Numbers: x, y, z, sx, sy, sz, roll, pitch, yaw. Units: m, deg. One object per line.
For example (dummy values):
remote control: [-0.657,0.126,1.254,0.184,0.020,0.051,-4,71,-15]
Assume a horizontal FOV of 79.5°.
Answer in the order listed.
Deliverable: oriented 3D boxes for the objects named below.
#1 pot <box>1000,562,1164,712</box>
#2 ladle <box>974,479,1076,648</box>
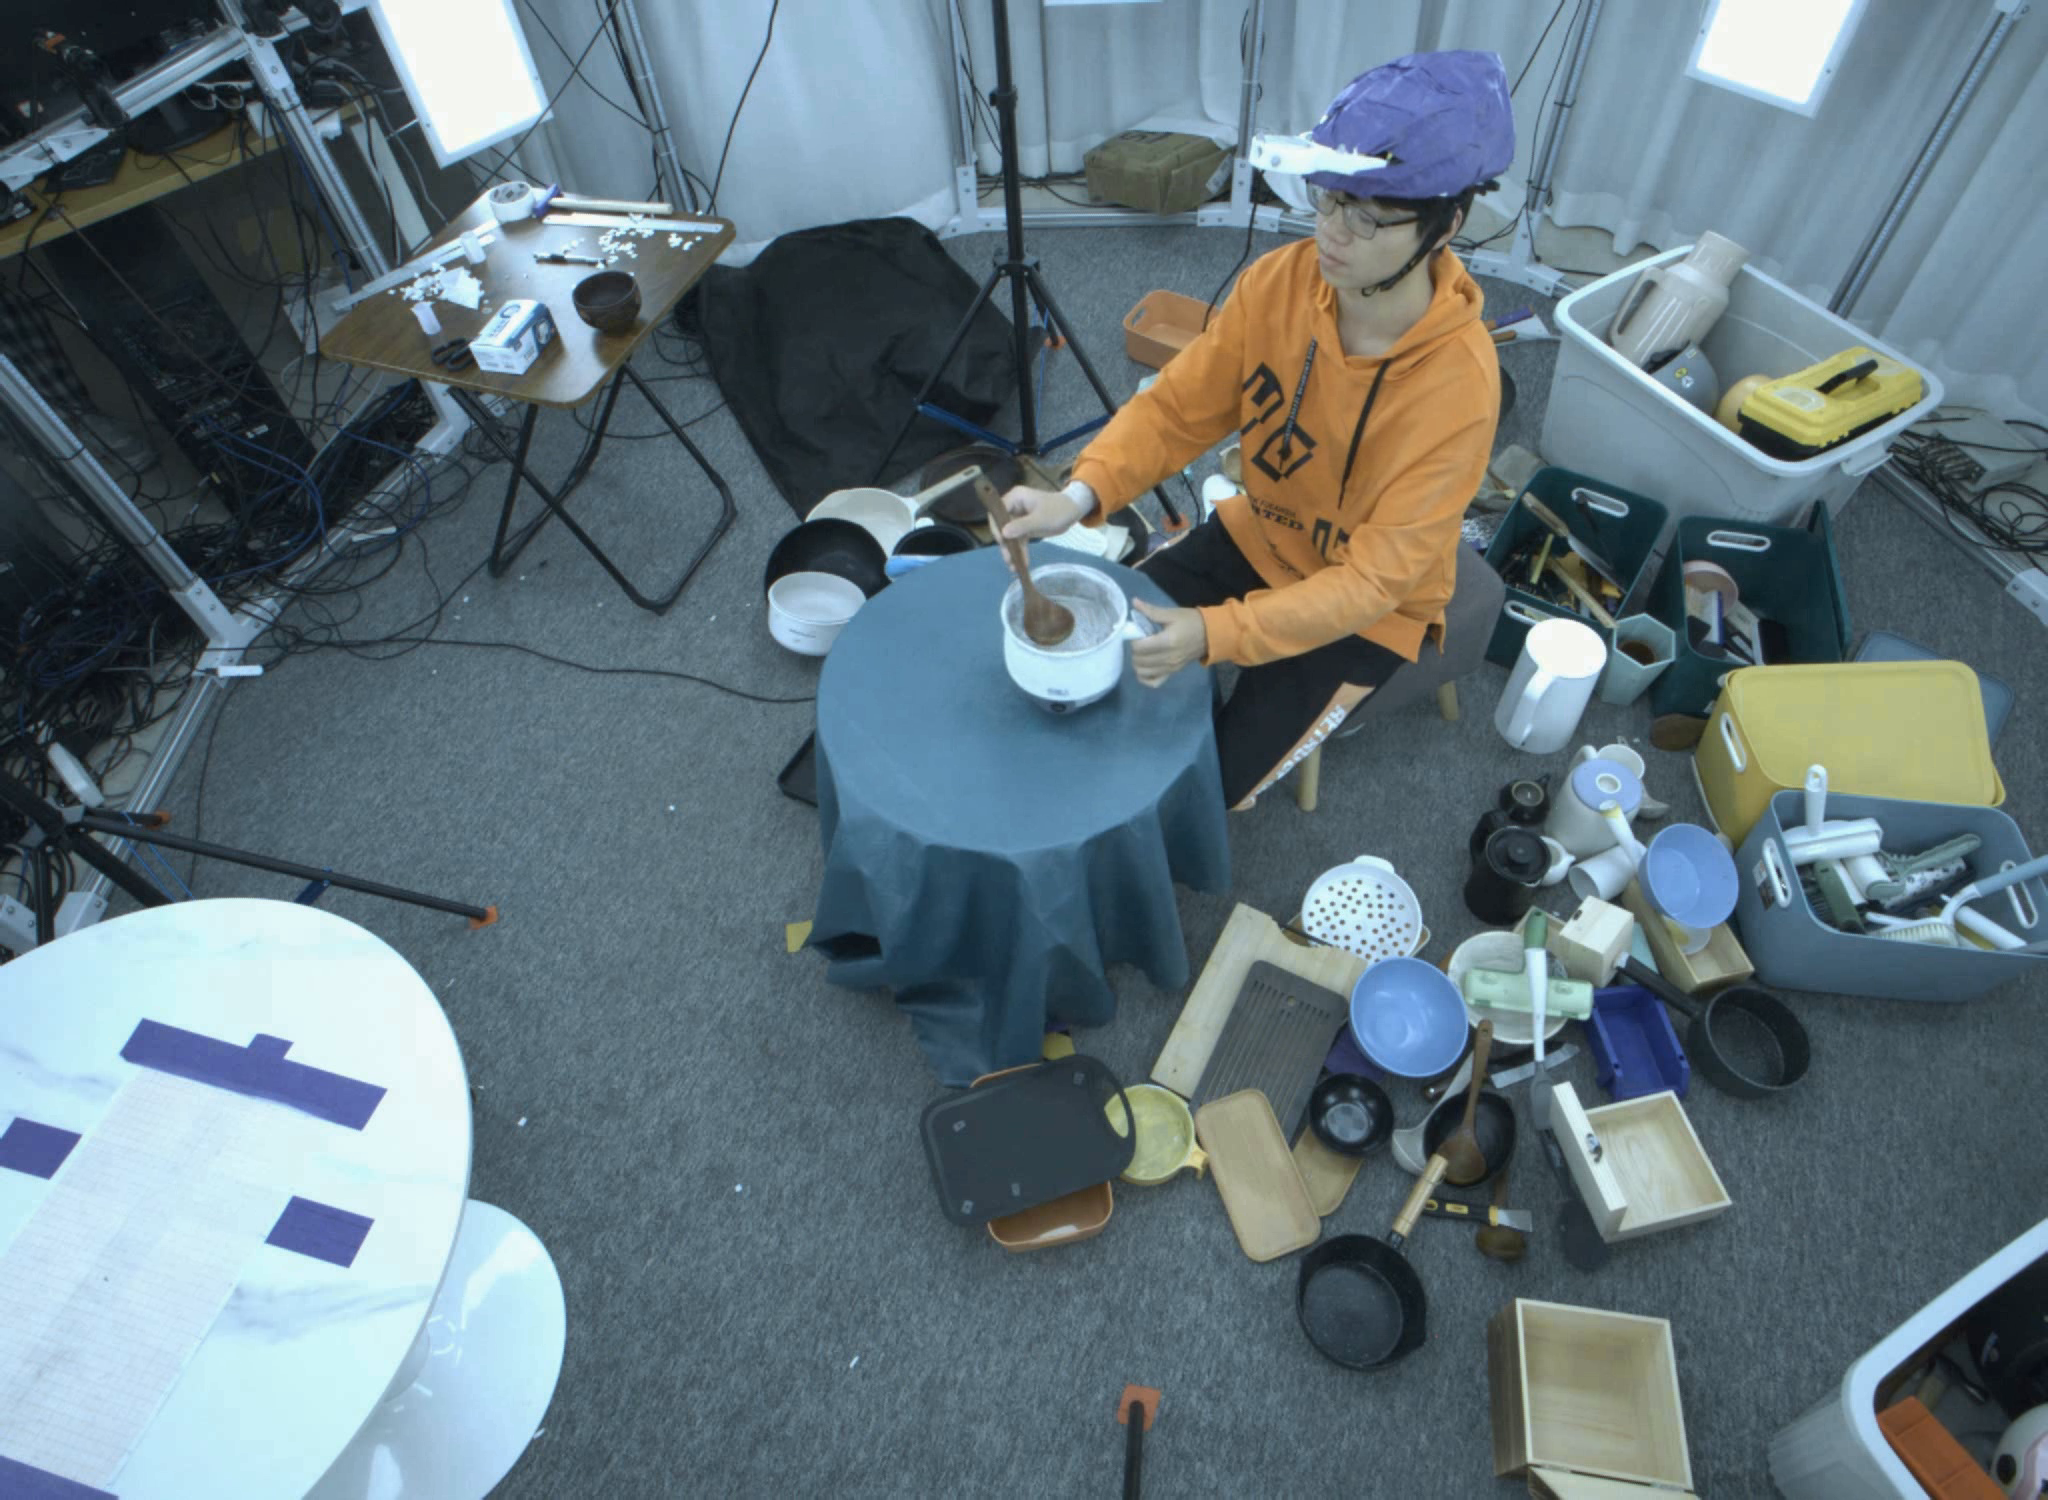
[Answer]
pot: [0.085,-0.160,1.768,0.233,0.138,0.177,4,56,4]
ladle: [-0.004,-0.263,1.700,0.077,0.064,0.261,-26,97,-27]
